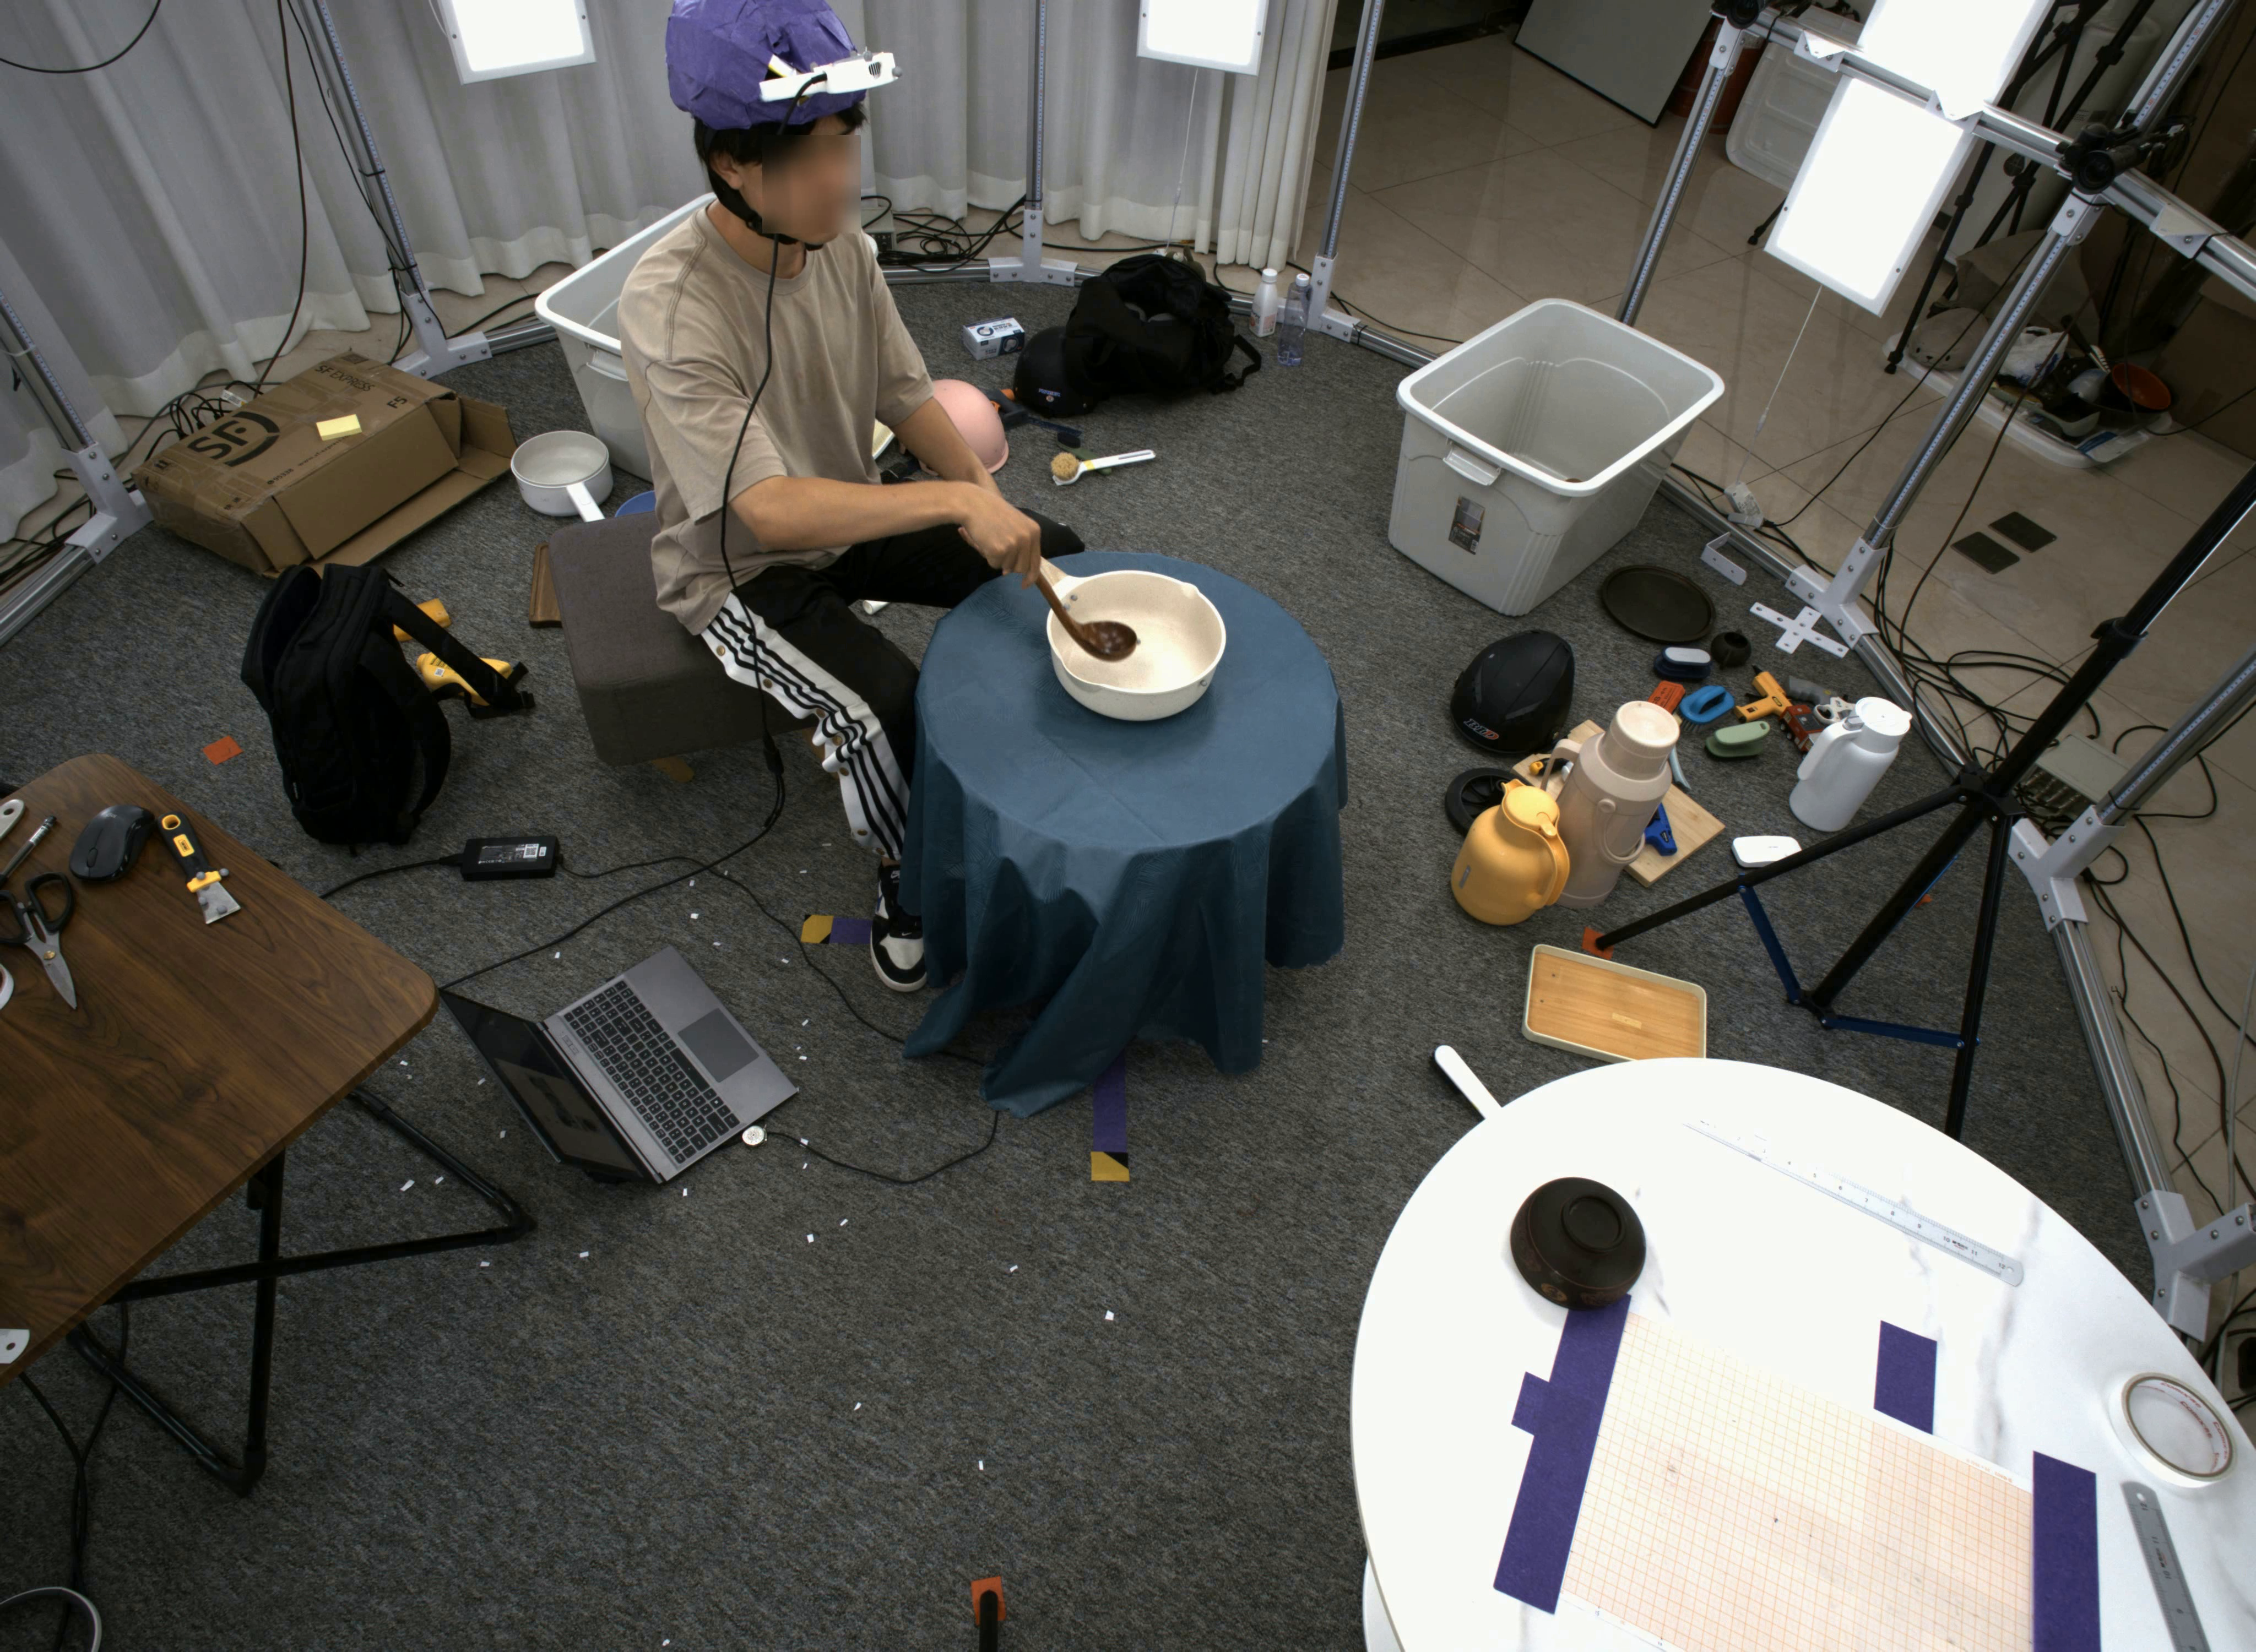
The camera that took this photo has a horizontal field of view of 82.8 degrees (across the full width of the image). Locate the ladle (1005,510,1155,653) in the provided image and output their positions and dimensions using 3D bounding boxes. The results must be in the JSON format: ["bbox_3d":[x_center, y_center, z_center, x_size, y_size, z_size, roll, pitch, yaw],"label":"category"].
[{"bbox_3d":[-0.055,-0.328,1.700,0.076,0.268,0.084,-34,40,6],"label":"ladle"}]

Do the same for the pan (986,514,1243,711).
[{"bbox_3d":[-0.037,-0.317,1.862,0.440,0.099,0.266,33,55,23],"label":"pan"}]
